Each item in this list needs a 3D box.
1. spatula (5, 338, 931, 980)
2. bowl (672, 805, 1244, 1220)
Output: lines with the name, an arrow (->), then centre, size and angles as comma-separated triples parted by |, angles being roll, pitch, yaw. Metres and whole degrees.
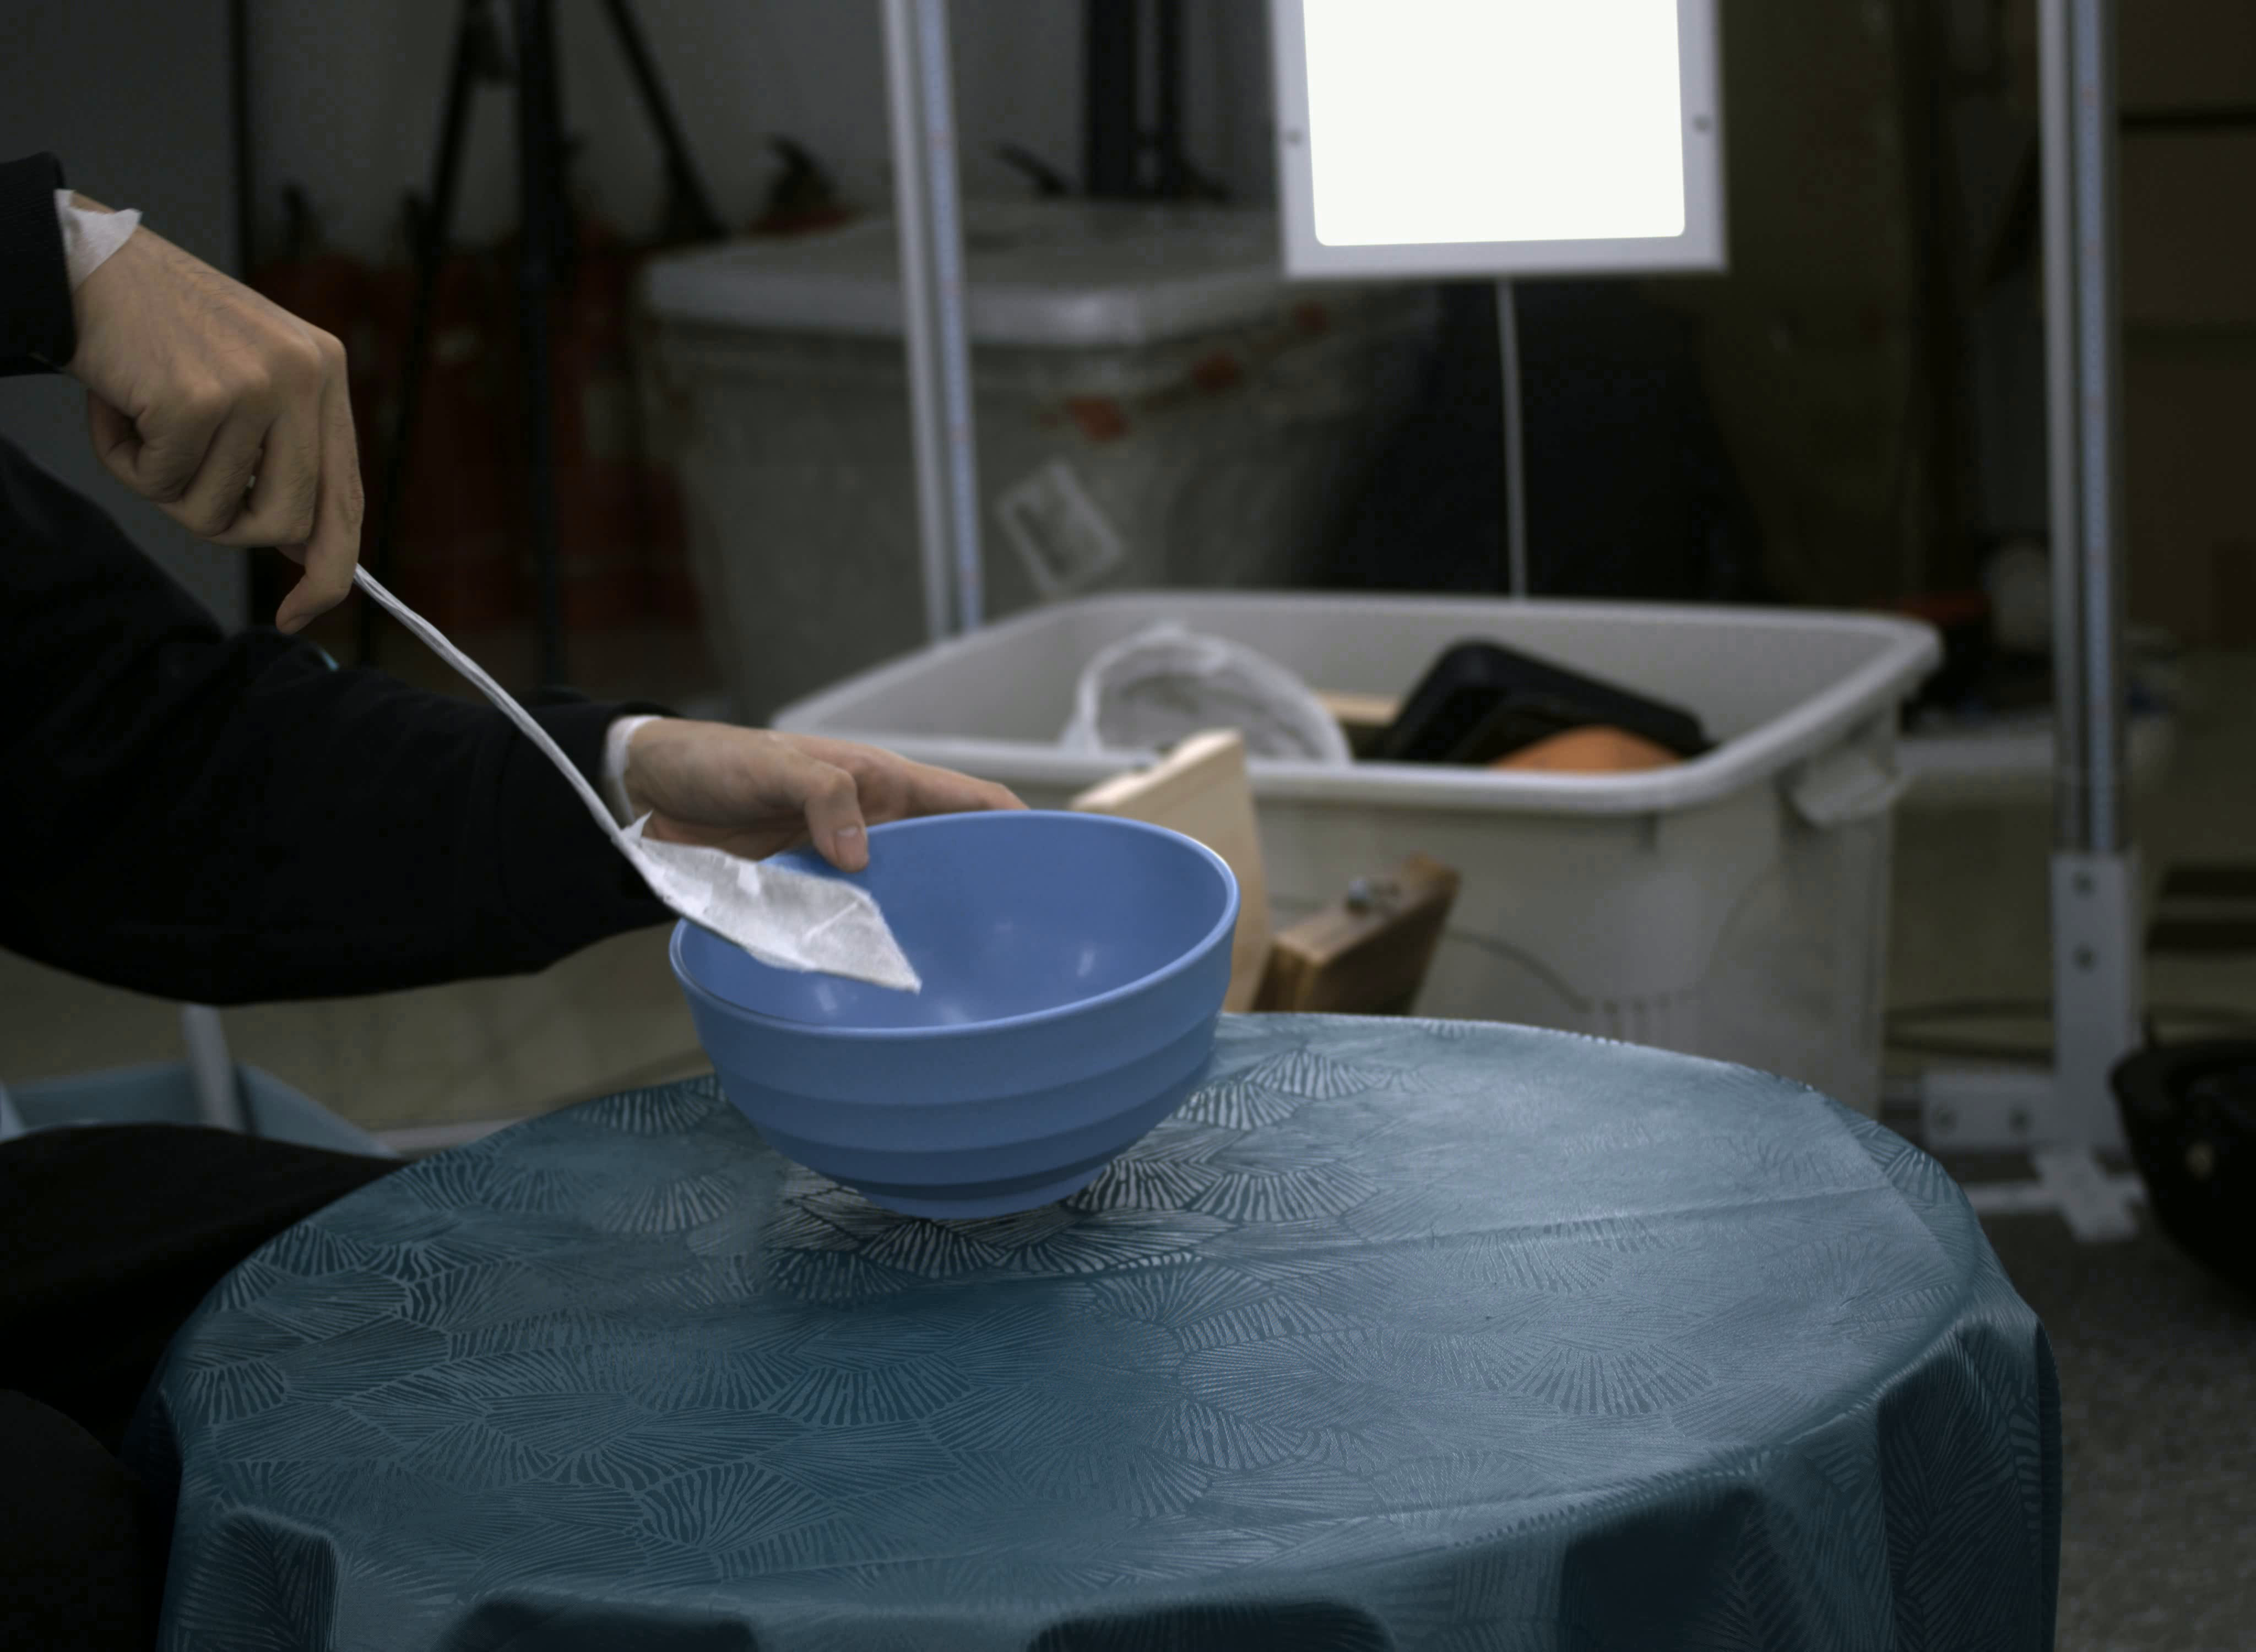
spatula -> -0.209, -0.055, 1.786 | 0.045, 0.361, 0.099 | -46, 22, 8
bowl -> -0.054, 0.073, 1.891 | 0.196, 0.096, 0.196 | -5, 22, 1
